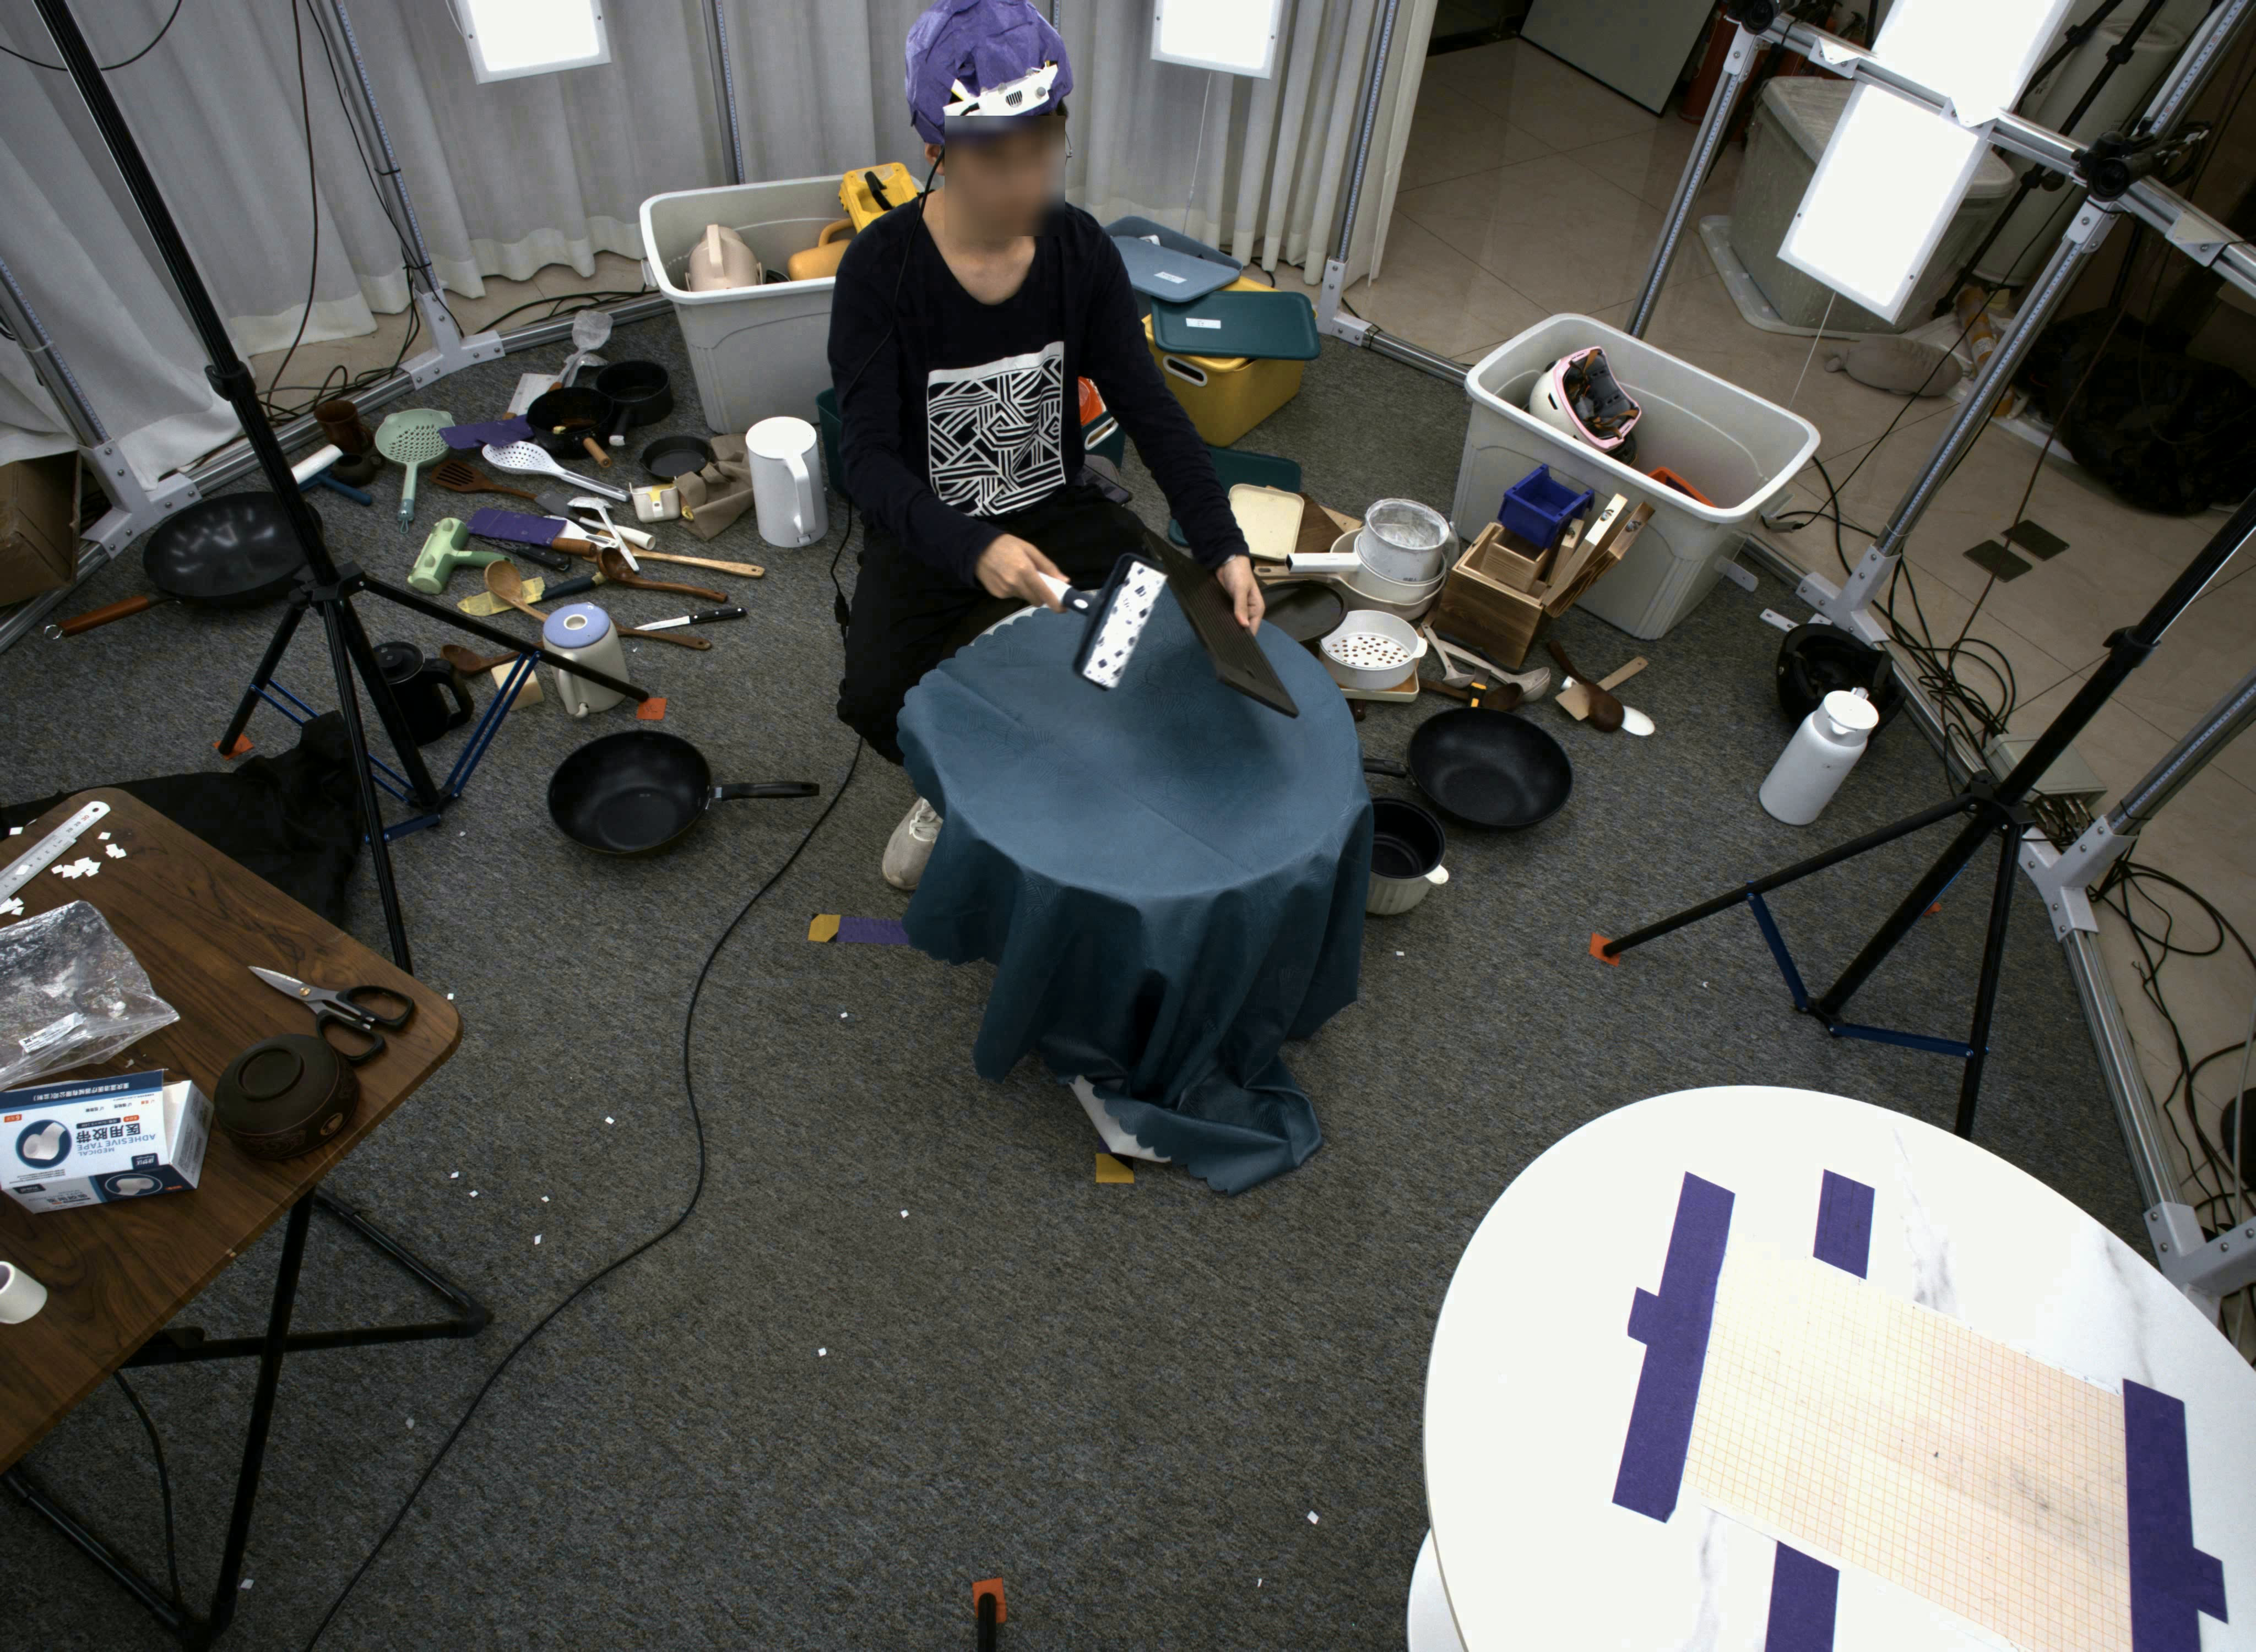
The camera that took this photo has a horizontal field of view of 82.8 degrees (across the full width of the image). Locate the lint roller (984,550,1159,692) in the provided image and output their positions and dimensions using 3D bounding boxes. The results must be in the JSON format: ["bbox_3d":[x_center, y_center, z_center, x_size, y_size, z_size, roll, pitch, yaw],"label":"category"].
[{"bbox_3d":[-0.095,-0.306,1.700,0.249,0.175,0.050,29,12,21],"label":"lint roller"}]

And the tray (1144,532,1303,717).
[{"bbox_3d":[0.126,-0.276,1.763,0.168,0.018,0.313,20,34,-44],"label":"tray"}]
